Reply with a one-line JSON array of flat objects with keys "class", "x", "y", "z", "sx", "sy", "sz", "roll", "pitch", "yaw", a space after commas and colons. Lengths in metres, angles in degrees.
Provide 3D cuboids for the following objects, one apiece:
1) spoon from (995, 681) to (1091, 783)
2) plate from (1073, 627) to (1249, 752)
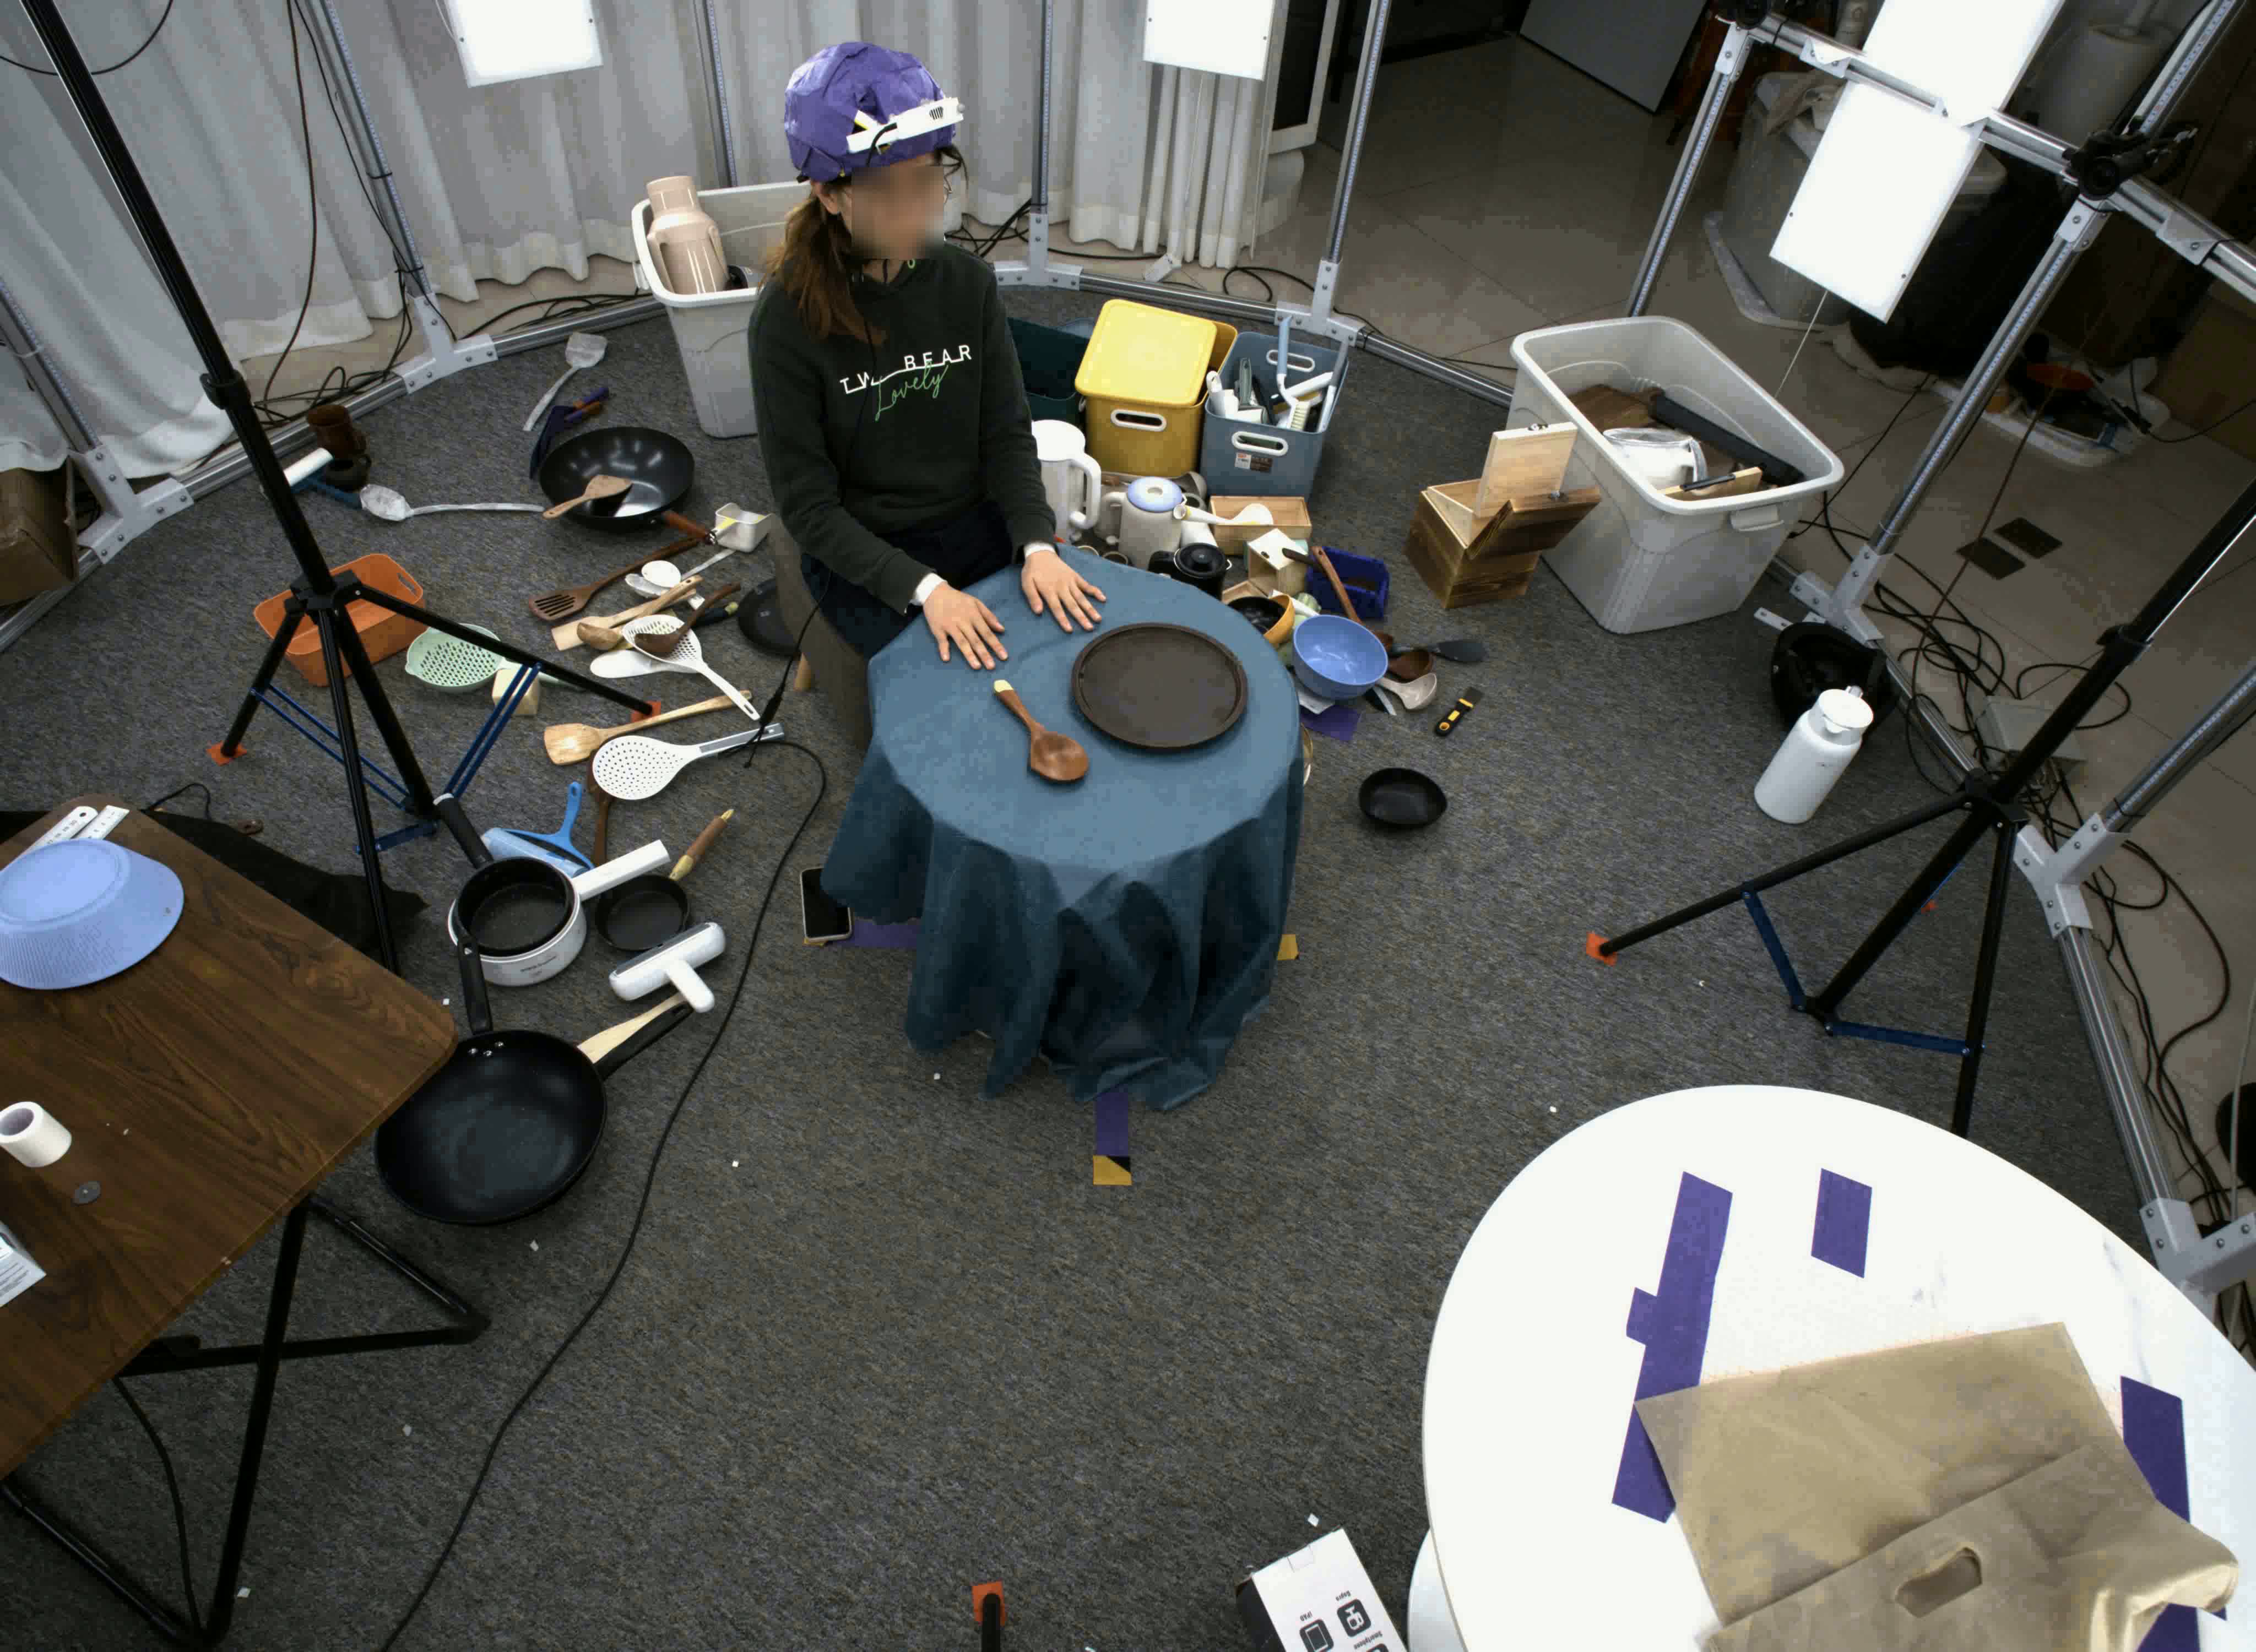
[{"class": "spoon", "x": -0.125, "y": -0.132, "z": 1.779, "sx": 0.076, "sy": 0.017, "sz": 0.220, "roll": -24, "pitch": 54, "yaw": -22}, {"class": "plate", "x": 0.047, "y": -0.198, "z": 1.846, "sx": 0.254, "sy": 0.028, "sz": 0.261, "roll": 3, "pitch": 49, "yaw": -3}]
